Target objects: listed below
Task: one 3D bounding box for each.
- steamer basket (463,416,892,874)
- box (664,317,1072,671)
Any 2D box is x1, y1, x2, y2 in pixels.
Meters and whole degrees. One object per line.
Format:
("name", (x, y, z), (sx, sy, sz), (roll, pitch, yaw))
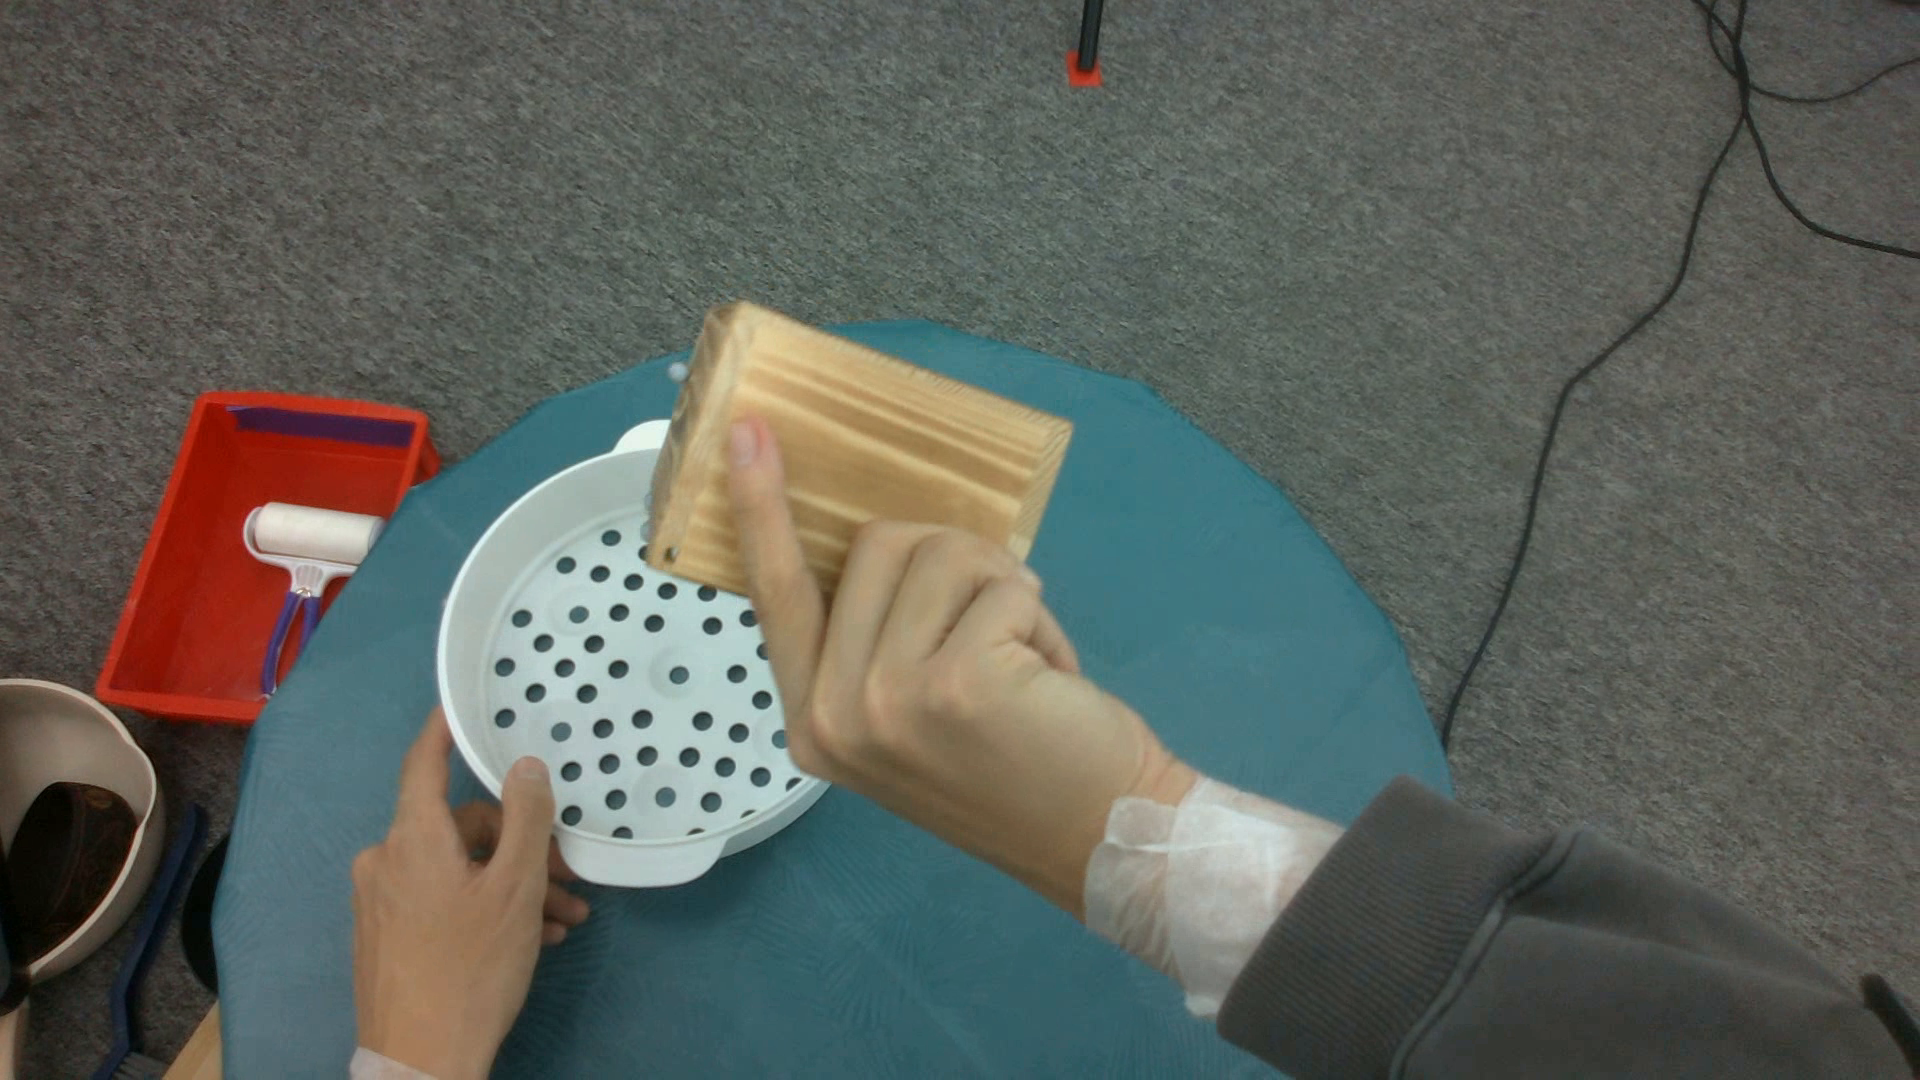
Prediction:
("steamer basket", (-0.135, 0.053, 0.681), (0.202, 0.069, 0.231), (3, 66, -4))
("box", (-0.047, -0.028, 0.517), (0.107, 0.211, 0.080), (18, 95, -15))
